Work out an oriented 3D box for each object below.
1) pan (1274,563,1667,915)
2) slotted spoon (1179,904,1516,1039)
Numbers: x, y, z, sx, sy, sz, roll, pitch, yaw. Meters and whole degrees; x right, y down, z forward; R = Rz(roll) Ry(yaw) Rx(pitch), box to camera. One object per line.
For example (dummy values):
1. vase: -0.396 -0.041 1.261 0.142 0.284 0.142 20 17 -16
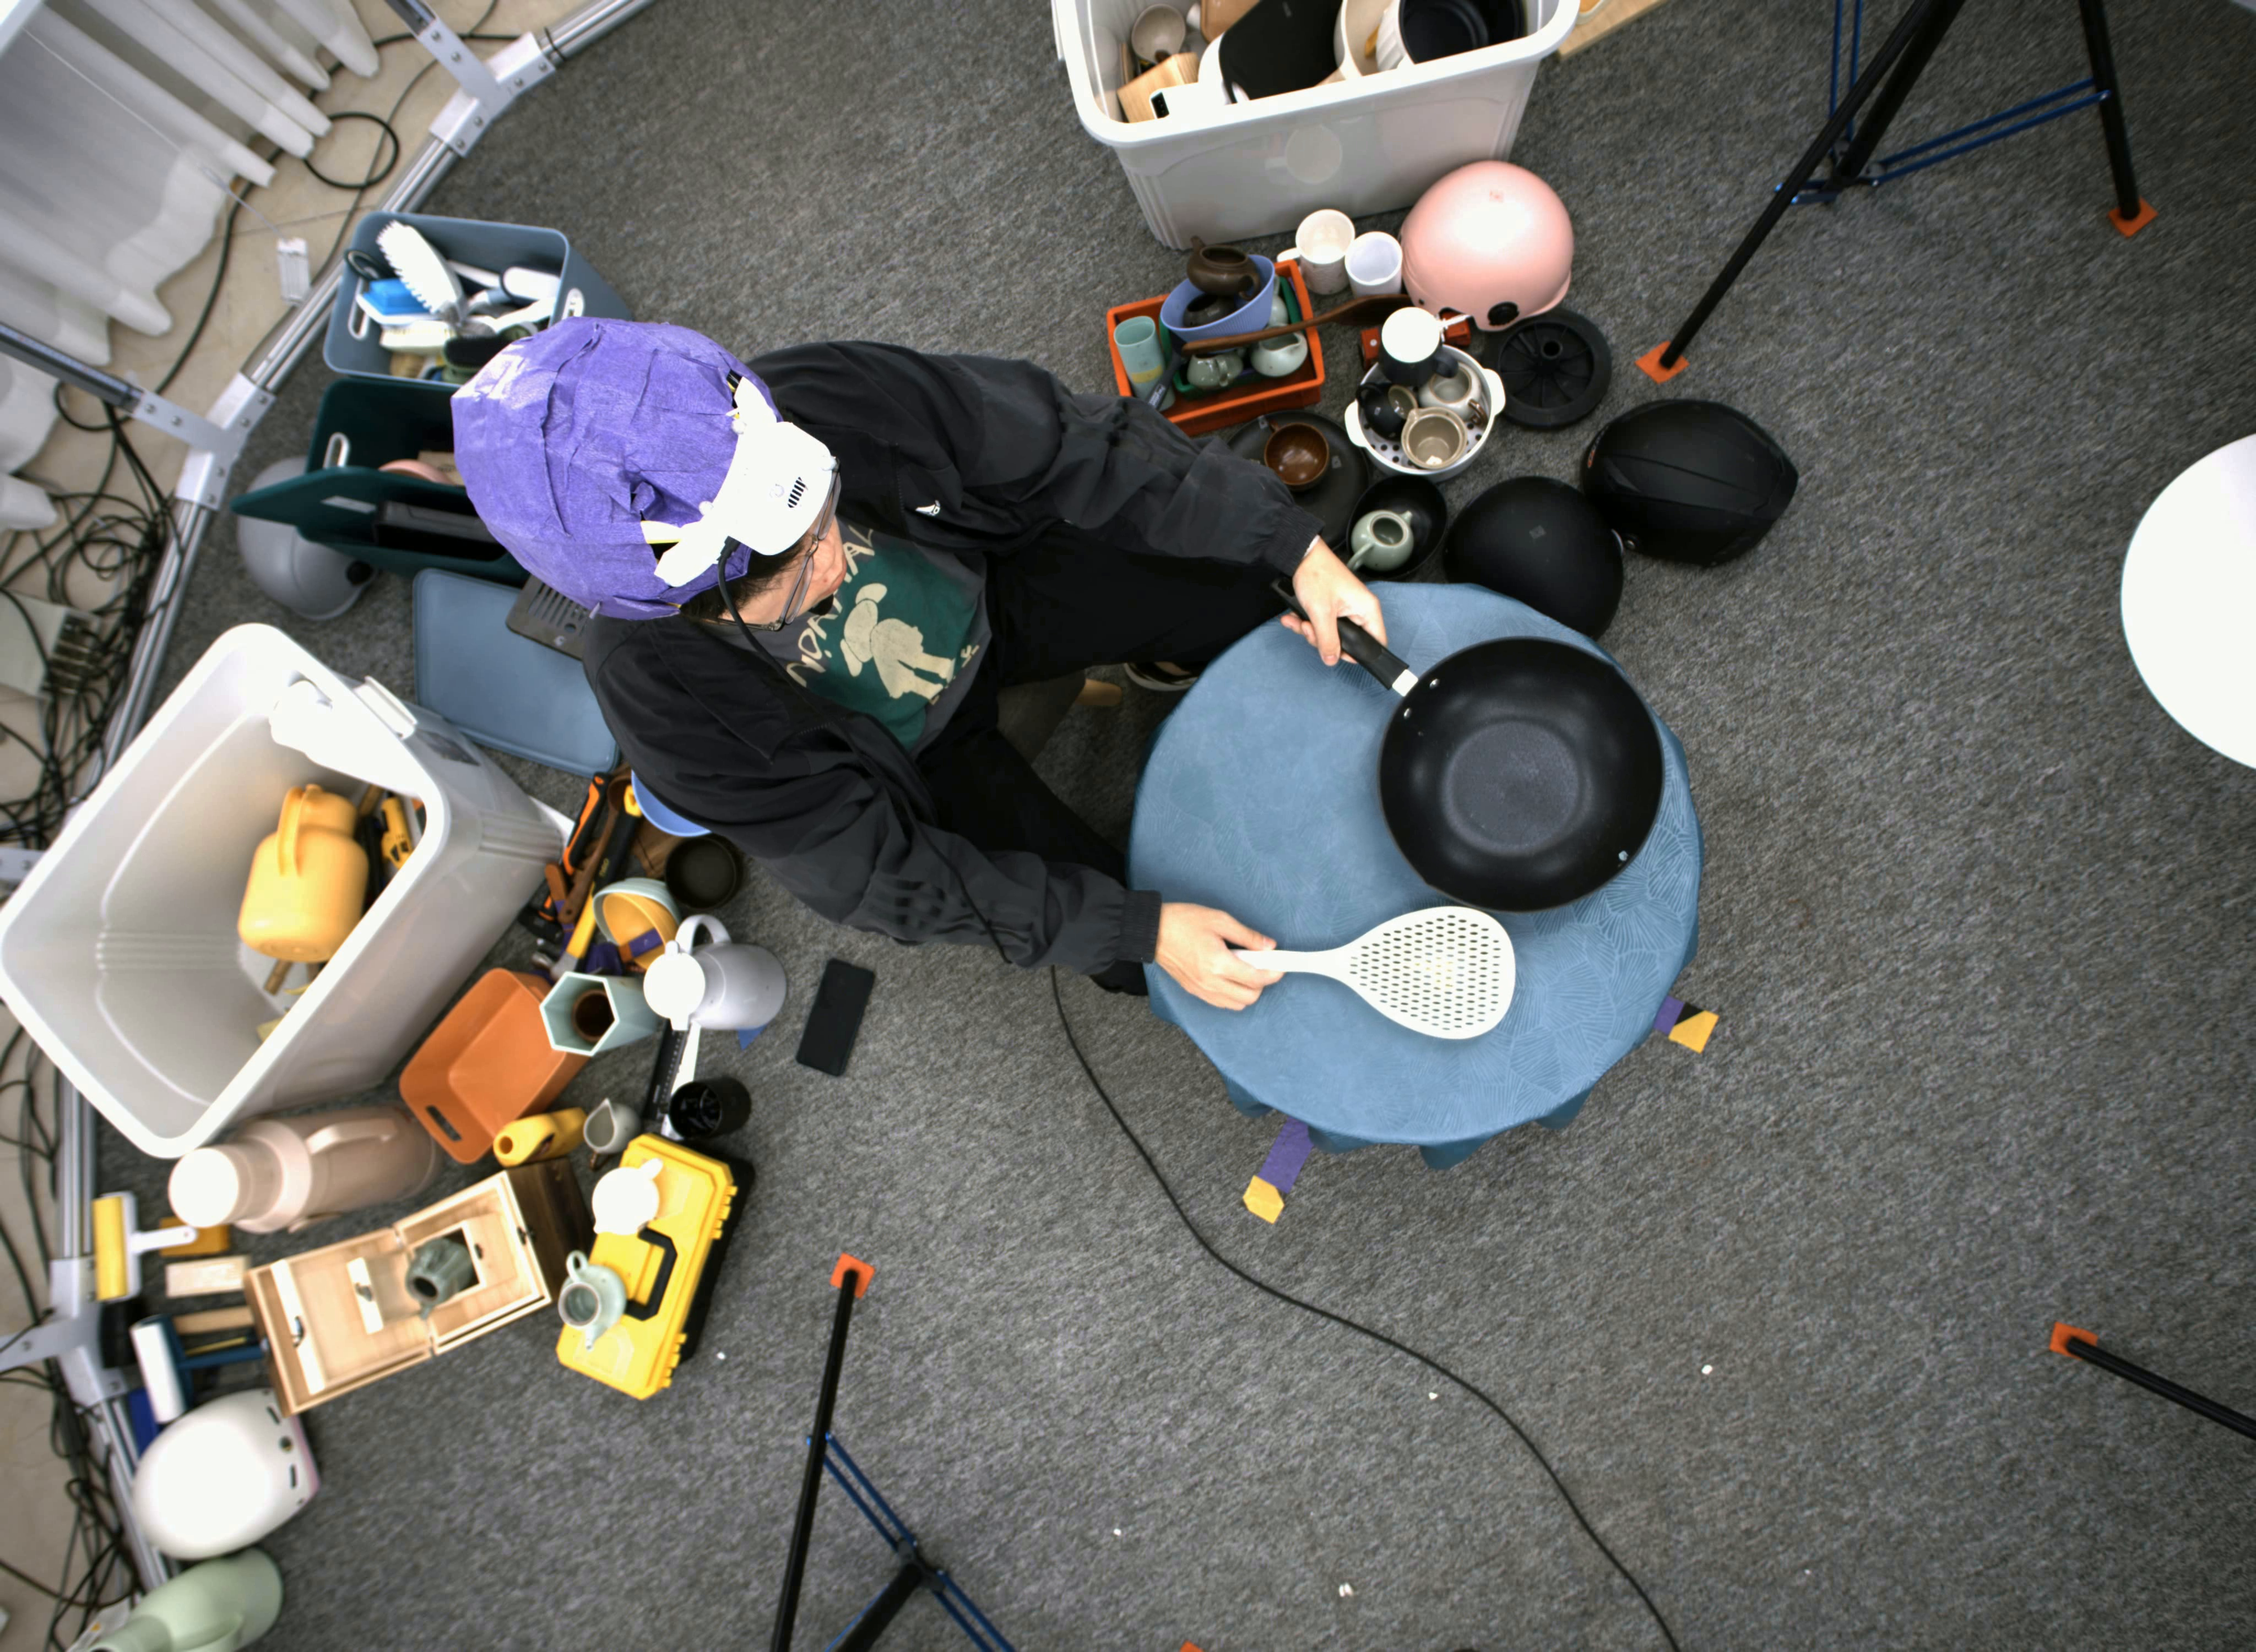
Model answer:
1. pan: 0.329 -0.108 1.415 0.461 0.087 0.289 42 95 13
2. slotted spoon: 0.223 0.144 1.440 0.349 0.050 0.136 2 85 10
